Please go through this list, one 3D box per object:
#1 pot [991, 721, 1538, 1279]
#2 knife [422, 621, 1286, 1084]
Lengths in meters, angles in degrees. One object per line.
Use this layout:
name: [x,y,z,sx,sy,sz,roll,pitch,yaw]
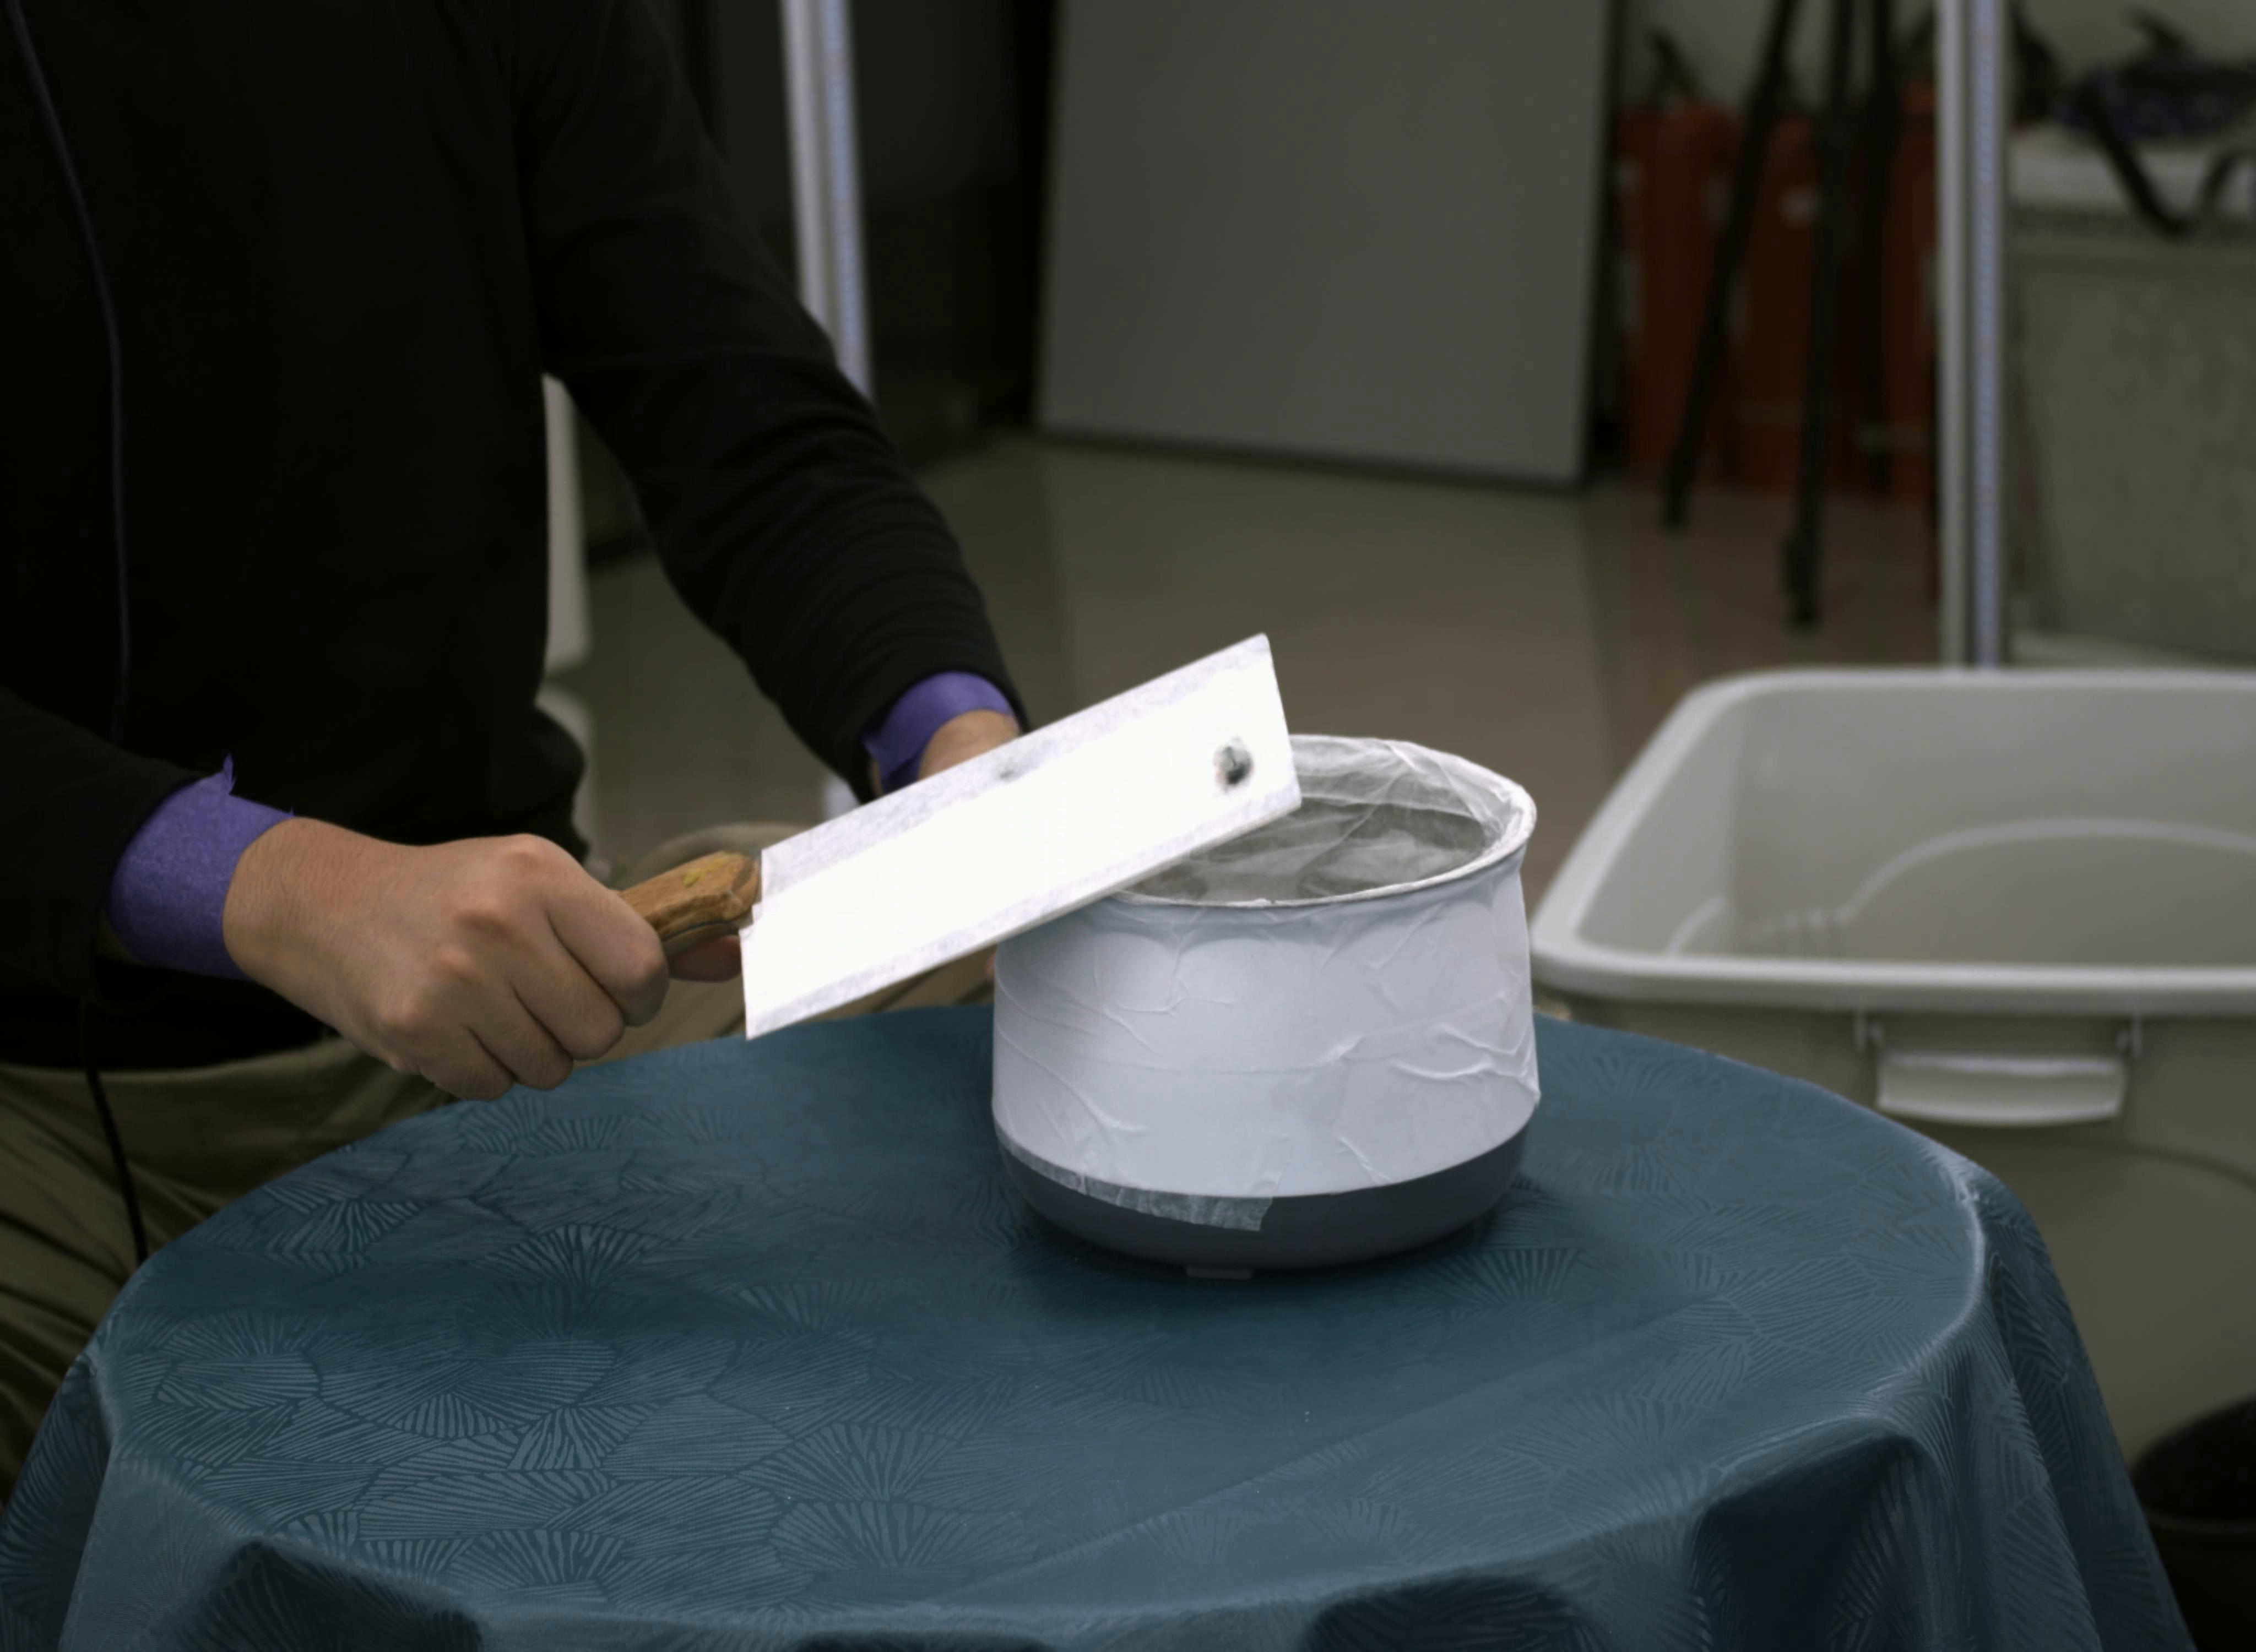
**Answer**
pot: [0.028,0.047,1.747,0.175,0.138,0.236,-12,21,-30]
knife: [-0.088,0.022,1.694,0.305,0.021,0.093,-25,34,12]
